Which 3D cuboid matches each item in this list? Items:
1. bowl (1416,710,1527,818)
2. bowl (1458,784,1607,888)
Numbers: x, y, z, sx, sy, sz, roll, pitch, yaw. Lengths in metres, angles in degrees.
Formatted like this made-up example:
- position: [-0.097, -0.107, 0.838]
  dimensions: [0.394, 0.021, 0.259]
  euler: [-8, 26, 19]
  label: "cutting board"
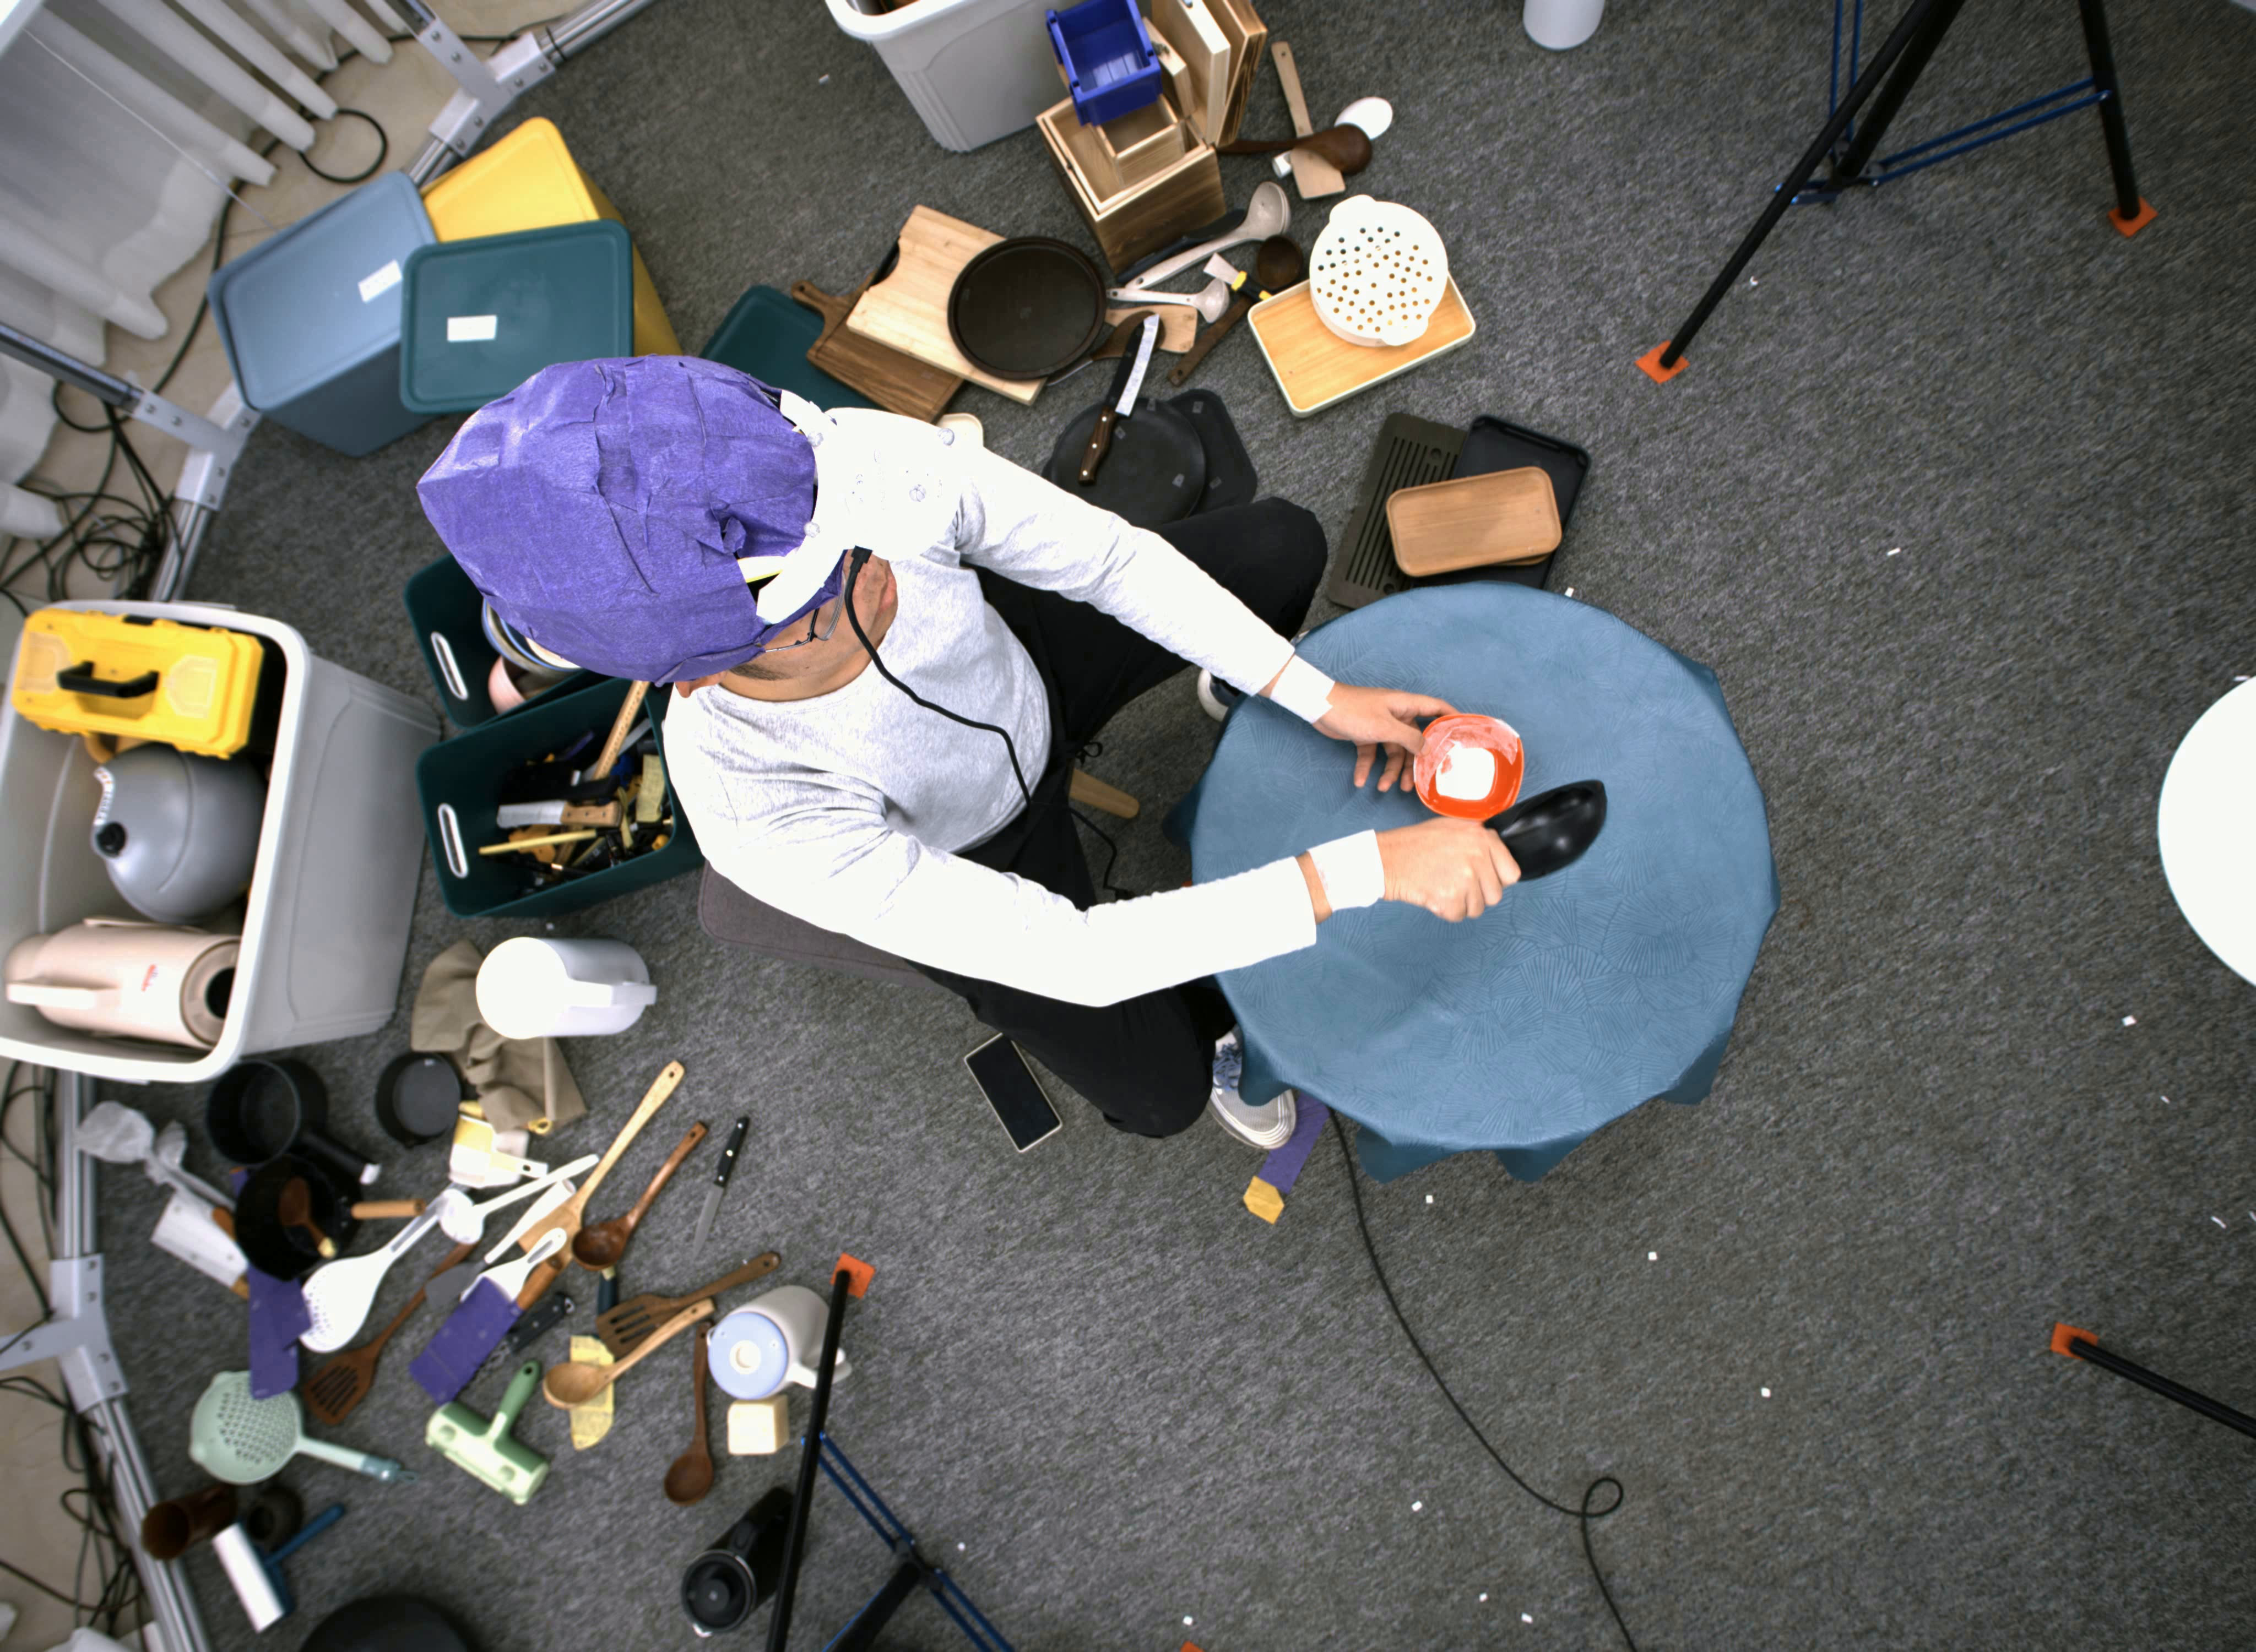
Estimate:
- position: [0.353, -0.063, 1.424]
  dimensions: [0.119, 0.051, 0.118]
  euler: [0, 88, 8]
  label: "bowl"
- position: [0.366, 0.014, 1.215]
  dimensions: [0.141, 0.139, 0.050]
  euler: [-29, 93, 6]
  label: "bowl"
